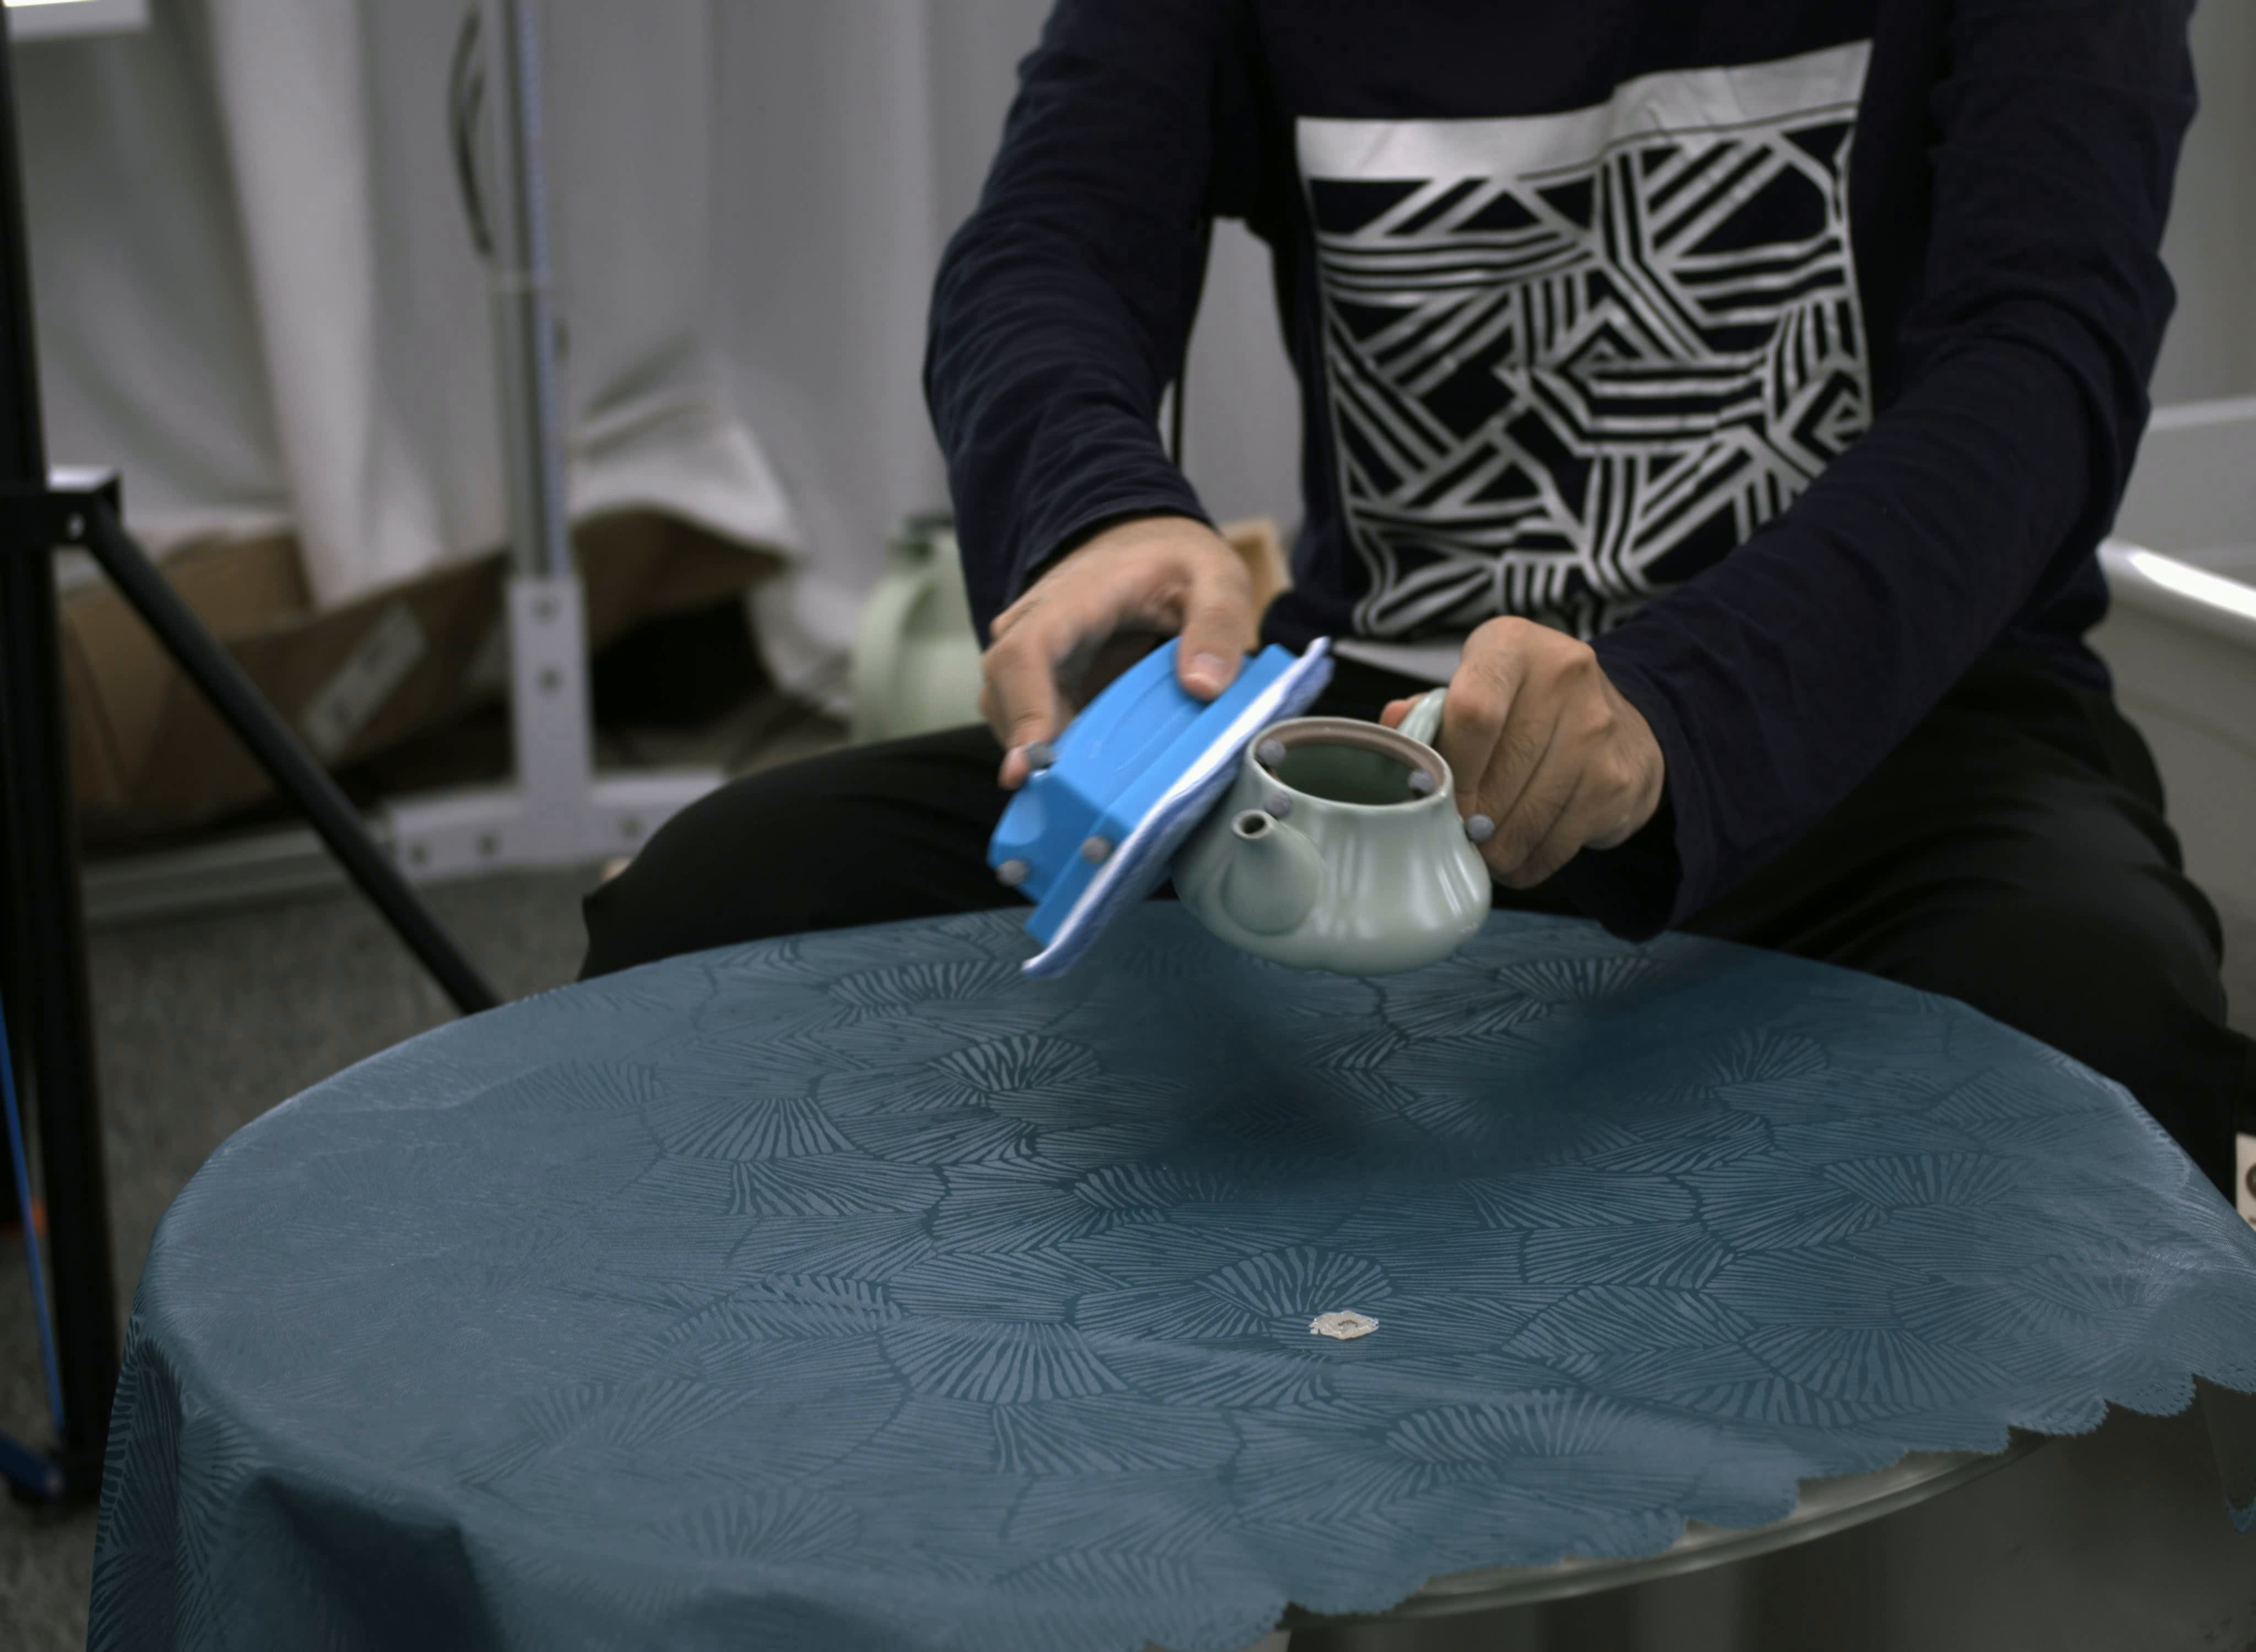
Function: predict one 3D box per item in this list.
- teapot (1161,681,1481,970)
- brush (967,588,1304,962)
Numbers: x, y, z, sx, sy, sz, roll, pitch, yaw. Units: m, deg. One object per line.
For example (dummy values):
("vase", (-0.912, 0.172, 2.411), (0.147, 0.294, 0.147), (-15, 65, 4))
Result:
("teapot", (0.062, 0.002, 1.593), (0.098, 0.061, 0.135), (20, 29, 25))
("brush", (-0.003, -0.021, 1.614), (0.056, 0.084, 0.143), (39, 40, -1))
